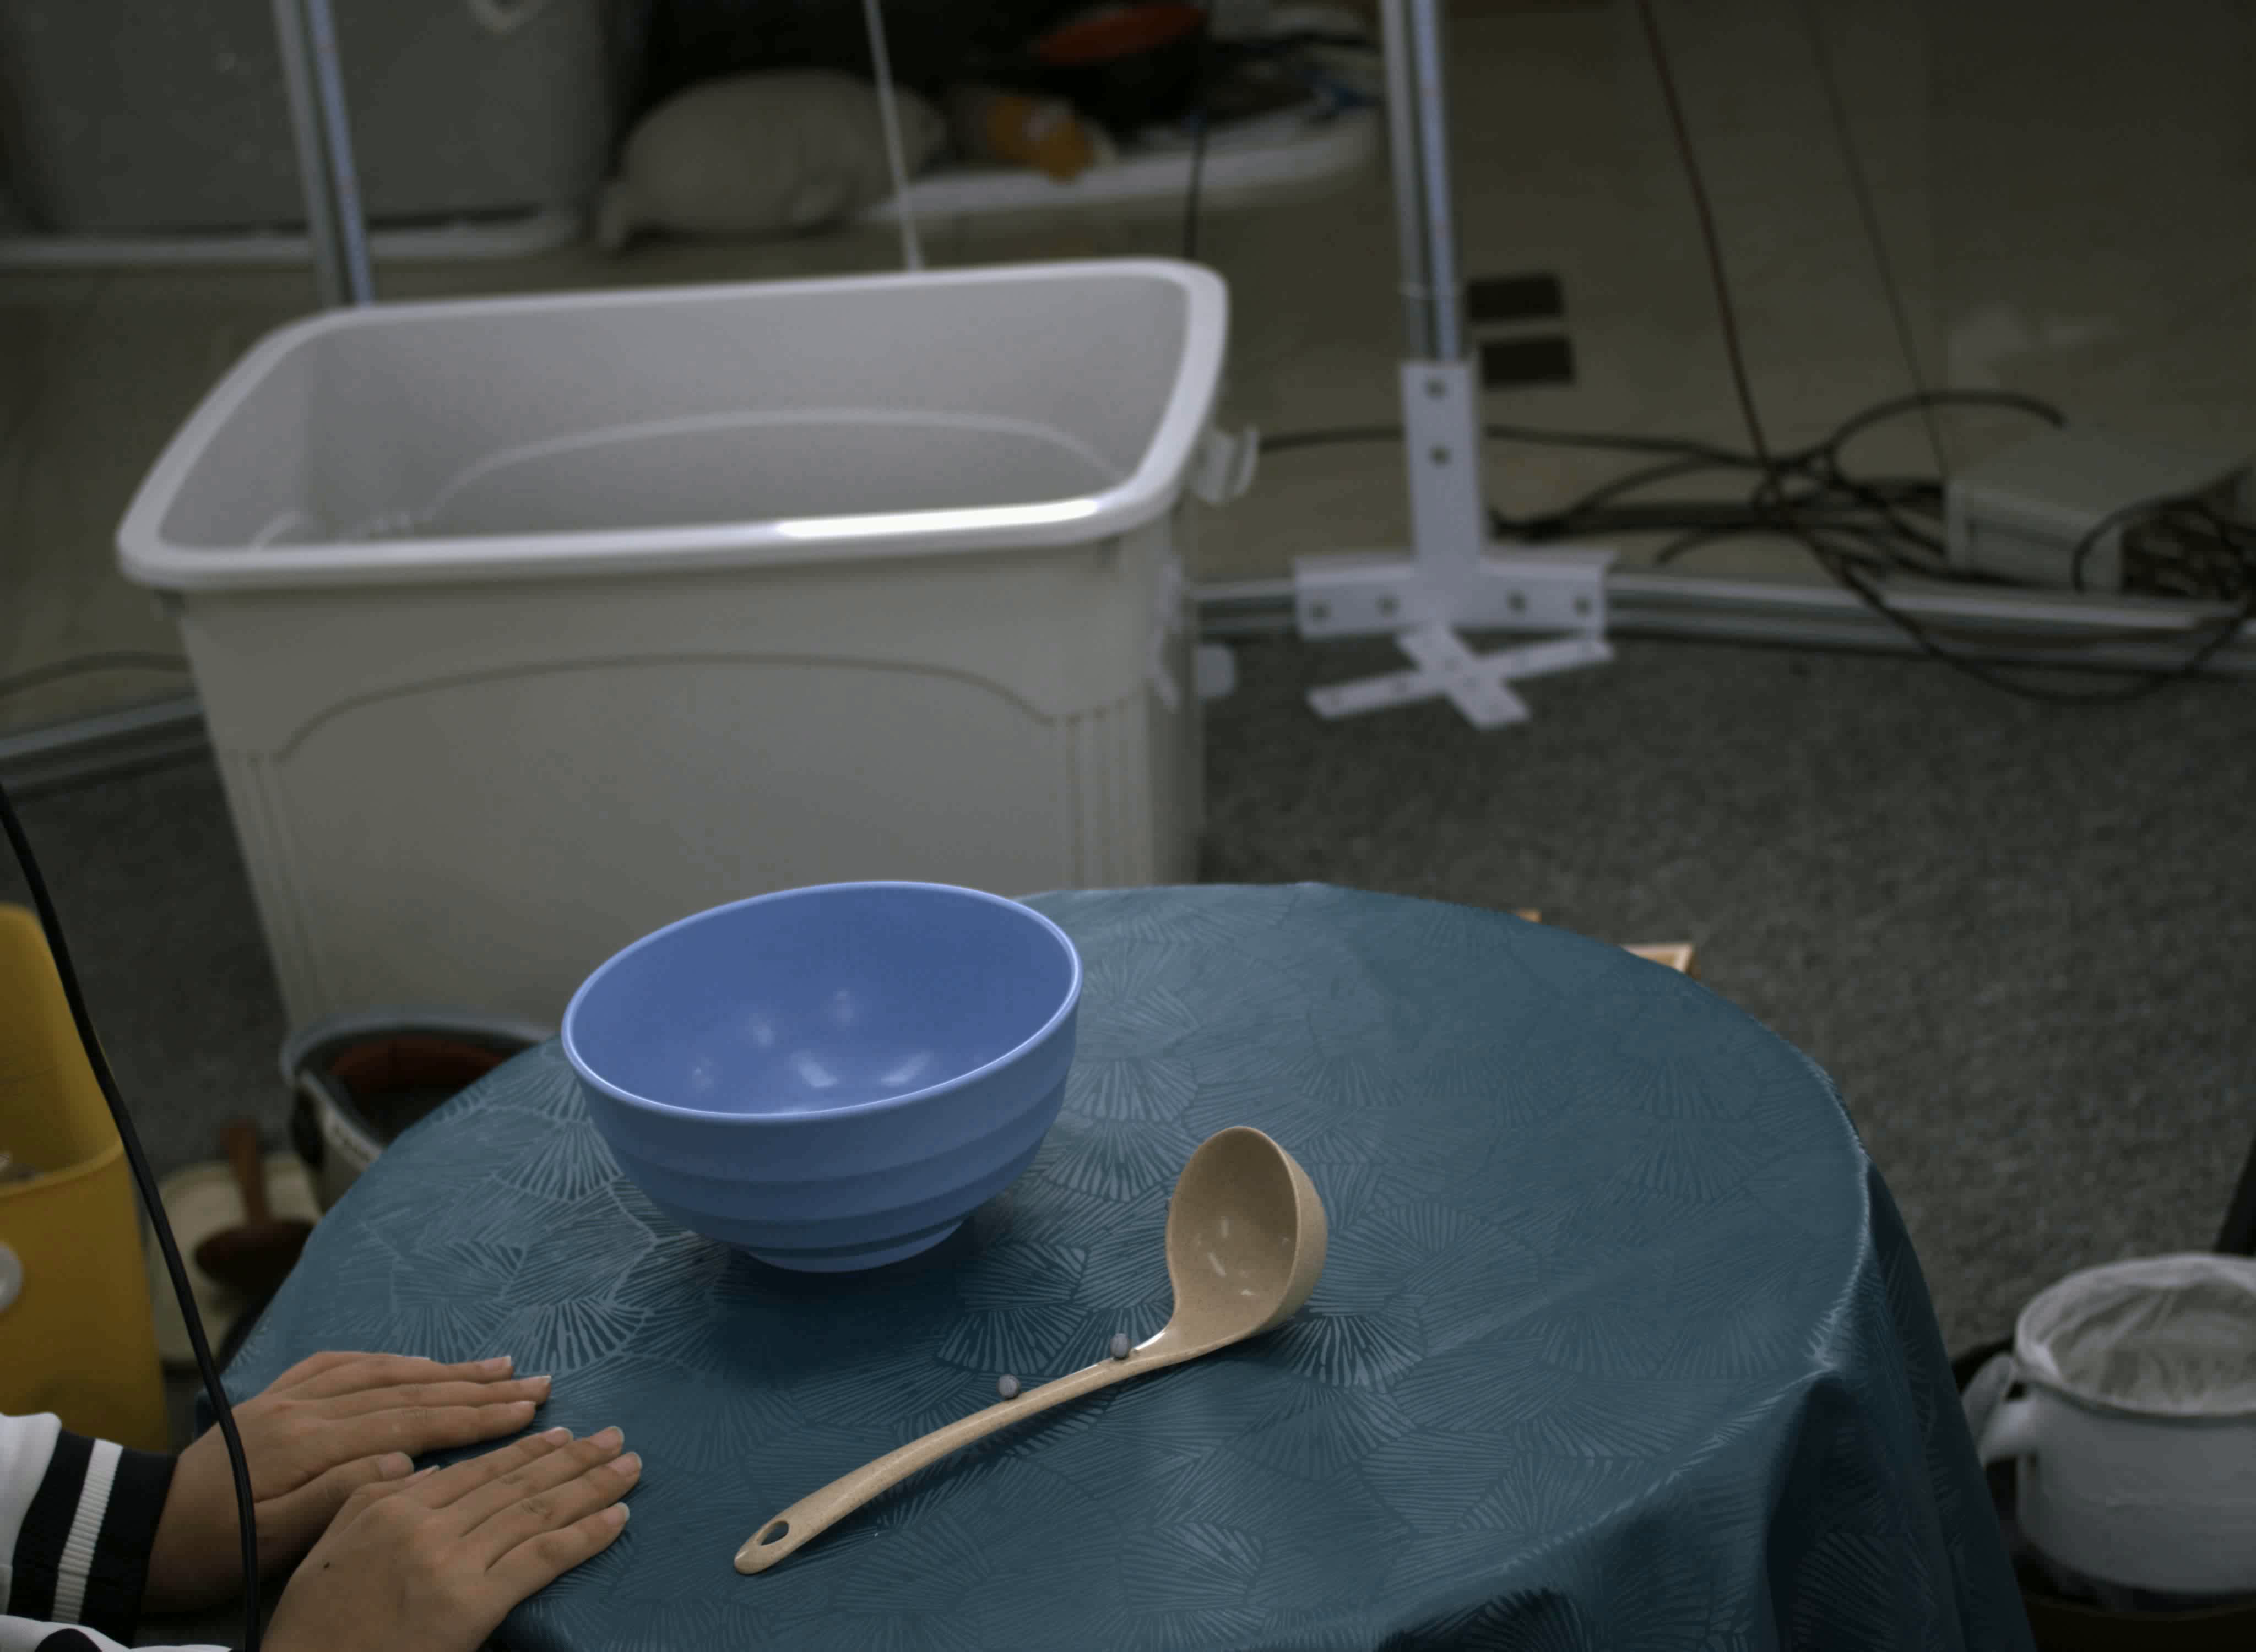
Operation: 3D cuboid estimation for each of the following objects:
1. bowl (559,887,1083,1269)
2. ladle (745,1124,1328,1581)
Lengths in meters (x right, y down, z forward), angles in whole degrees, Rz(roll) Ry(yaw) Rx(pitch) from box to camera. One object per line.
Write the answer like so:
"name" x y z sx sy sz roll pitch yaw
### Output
"bowl" -0.111 0.104 2.133 0.196 0.097 0.194 -4 23 2
"ladle" -0.036 0.179 1.982 0.252 0.074 0.071 -24 29 -33
